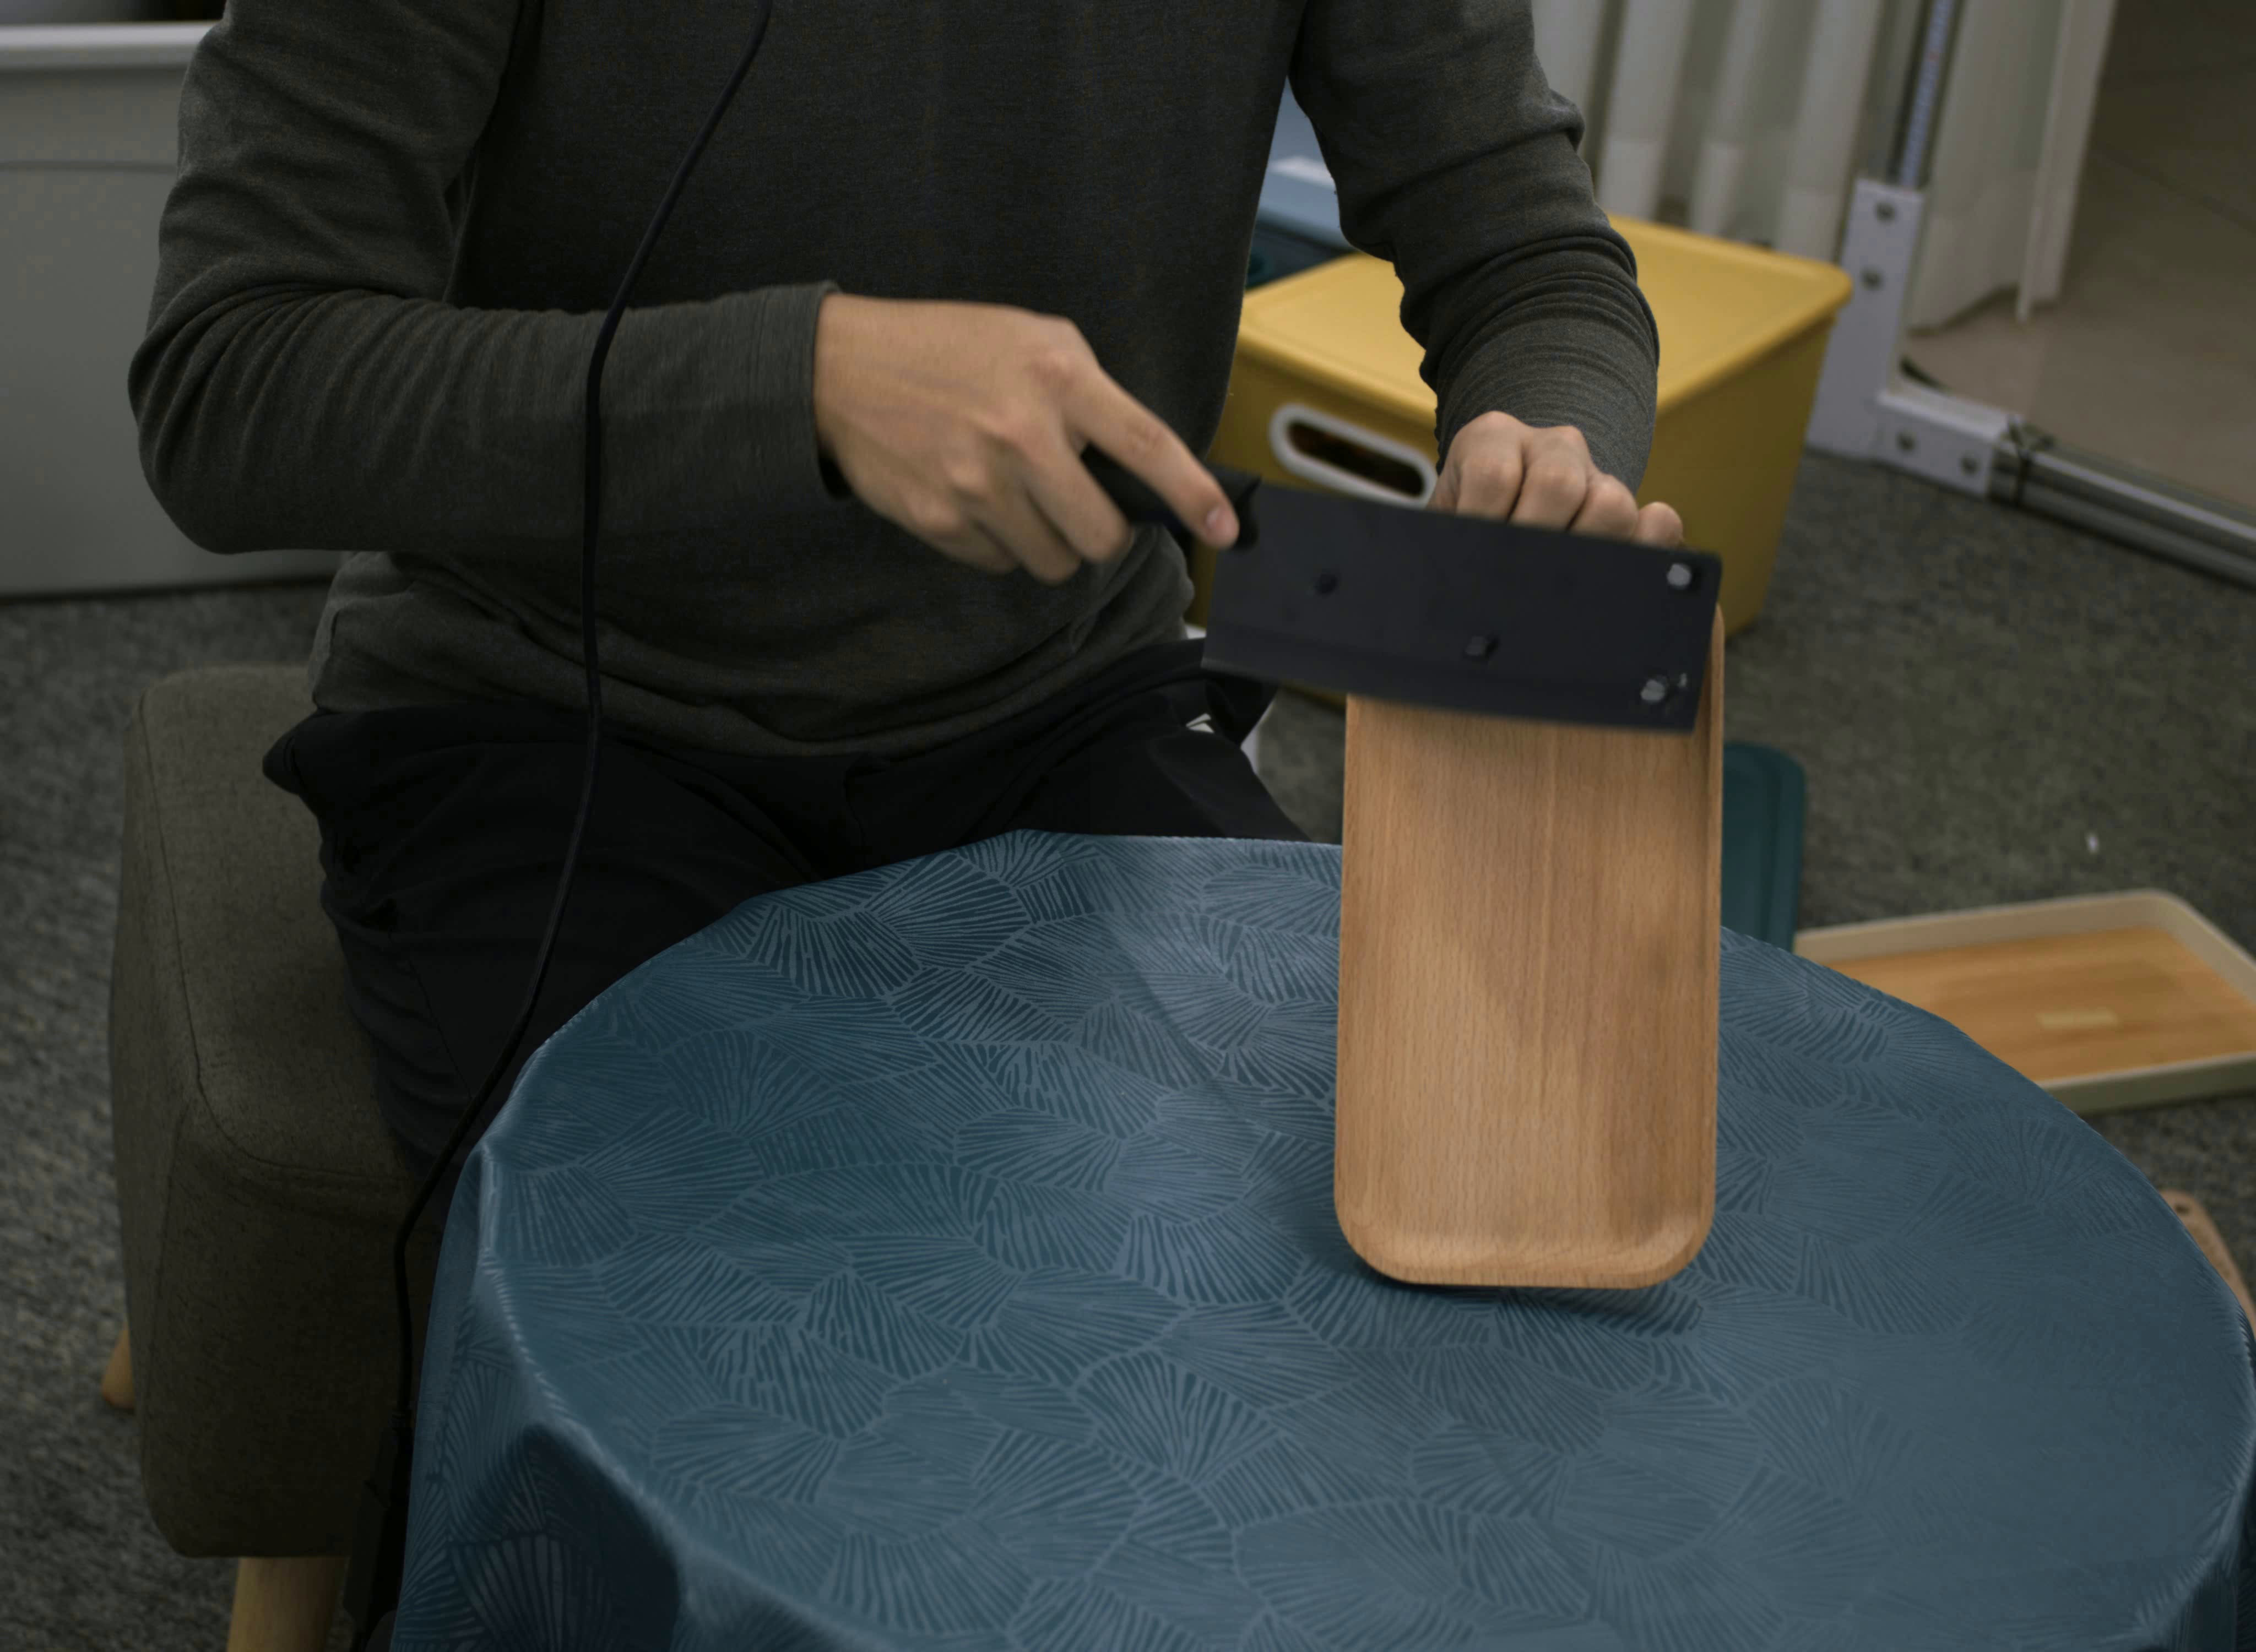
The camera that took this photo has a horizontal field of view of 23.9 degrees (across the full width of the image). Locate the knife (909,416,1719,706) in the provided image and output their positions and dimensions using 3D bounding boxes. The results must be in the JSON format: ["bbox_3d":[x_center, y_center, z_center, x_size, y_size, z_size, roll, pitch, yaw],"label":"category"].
[{"bbox_3d":[0.058,-0.094,1.803,0.303,0.081,0.021,15,6,26],"label":"knife"}]

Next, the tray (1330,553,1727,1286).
[{"bbox_3d":[0.134,0.028,1.786,0.130,0.252,0.023,2,-9,2],"label":"tray"}]
